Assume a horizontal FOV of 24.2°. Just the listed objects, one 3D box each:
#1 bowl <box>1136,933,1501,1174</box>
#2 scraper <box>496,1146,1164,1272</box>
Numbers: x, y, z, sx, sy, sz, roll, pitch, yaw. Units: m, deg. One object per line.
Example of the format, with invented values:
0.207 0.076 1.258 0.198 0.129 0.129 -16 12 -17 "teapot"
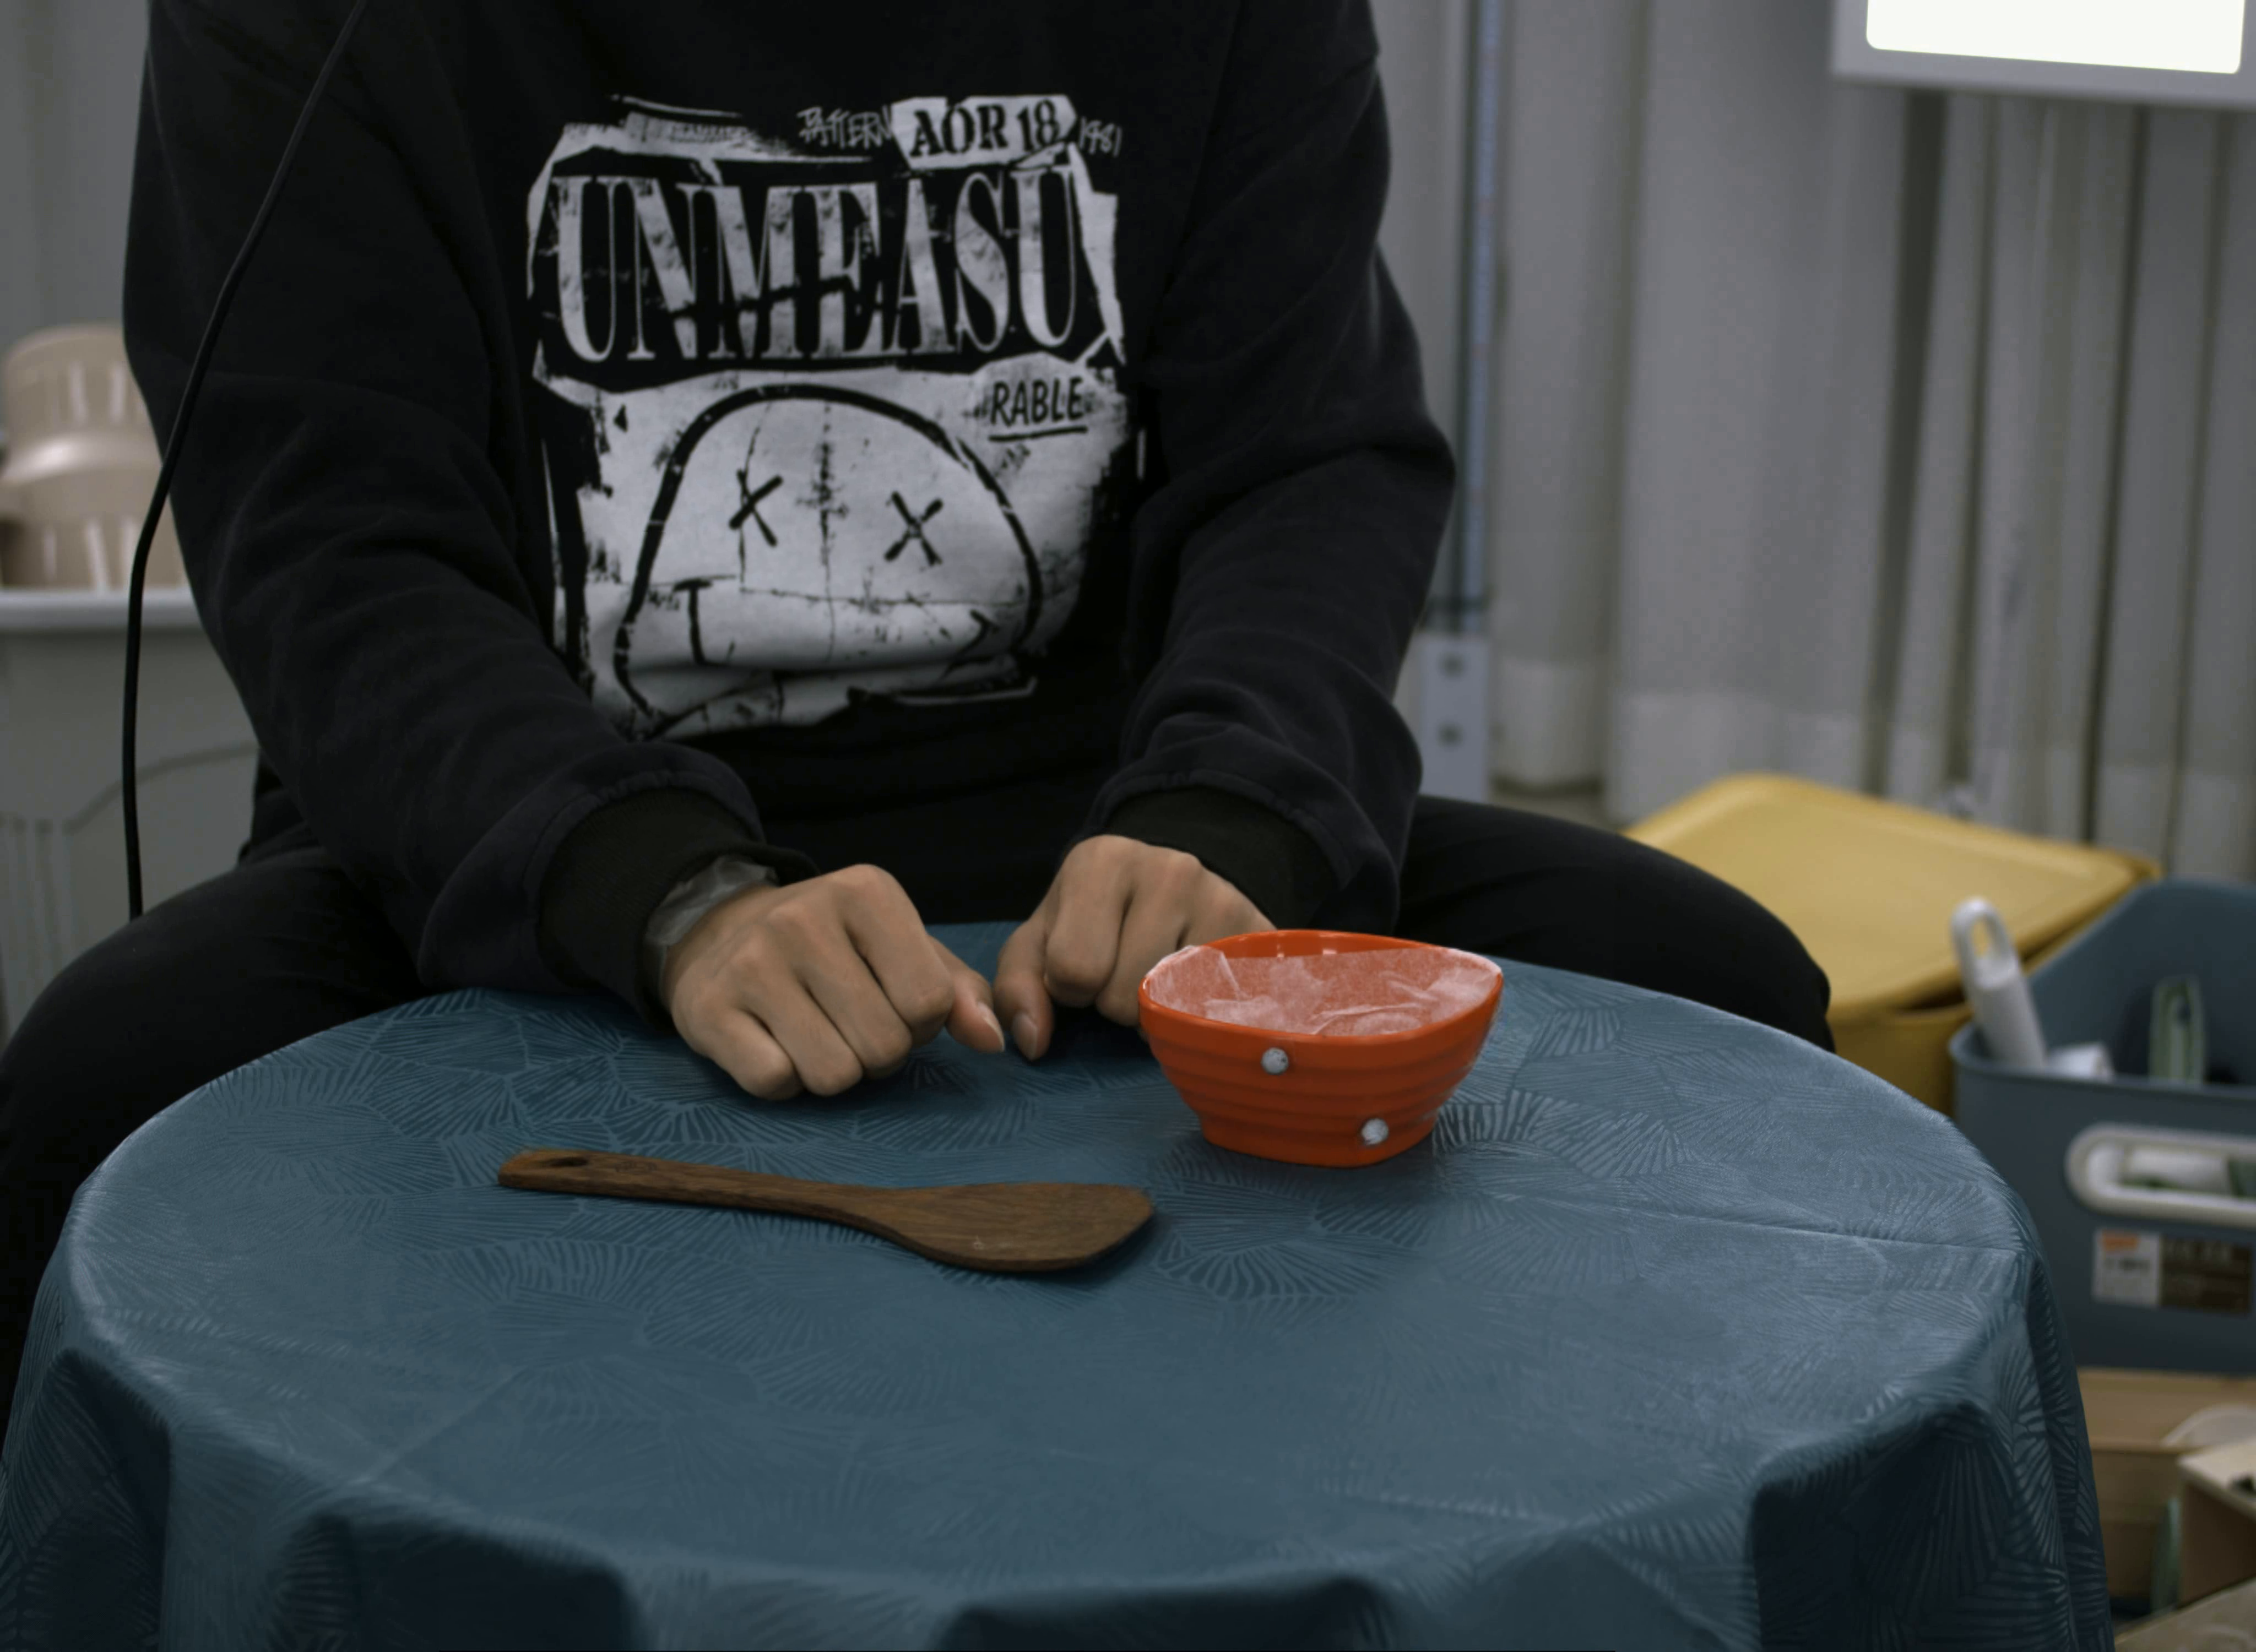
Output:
0.061 0.075 1.678 0.118 0.052 0.118 -1 17 1 "bowl"
-0.094 0.114 1.605 0.209 0.011 0.076 5 16 18 "scraper"
